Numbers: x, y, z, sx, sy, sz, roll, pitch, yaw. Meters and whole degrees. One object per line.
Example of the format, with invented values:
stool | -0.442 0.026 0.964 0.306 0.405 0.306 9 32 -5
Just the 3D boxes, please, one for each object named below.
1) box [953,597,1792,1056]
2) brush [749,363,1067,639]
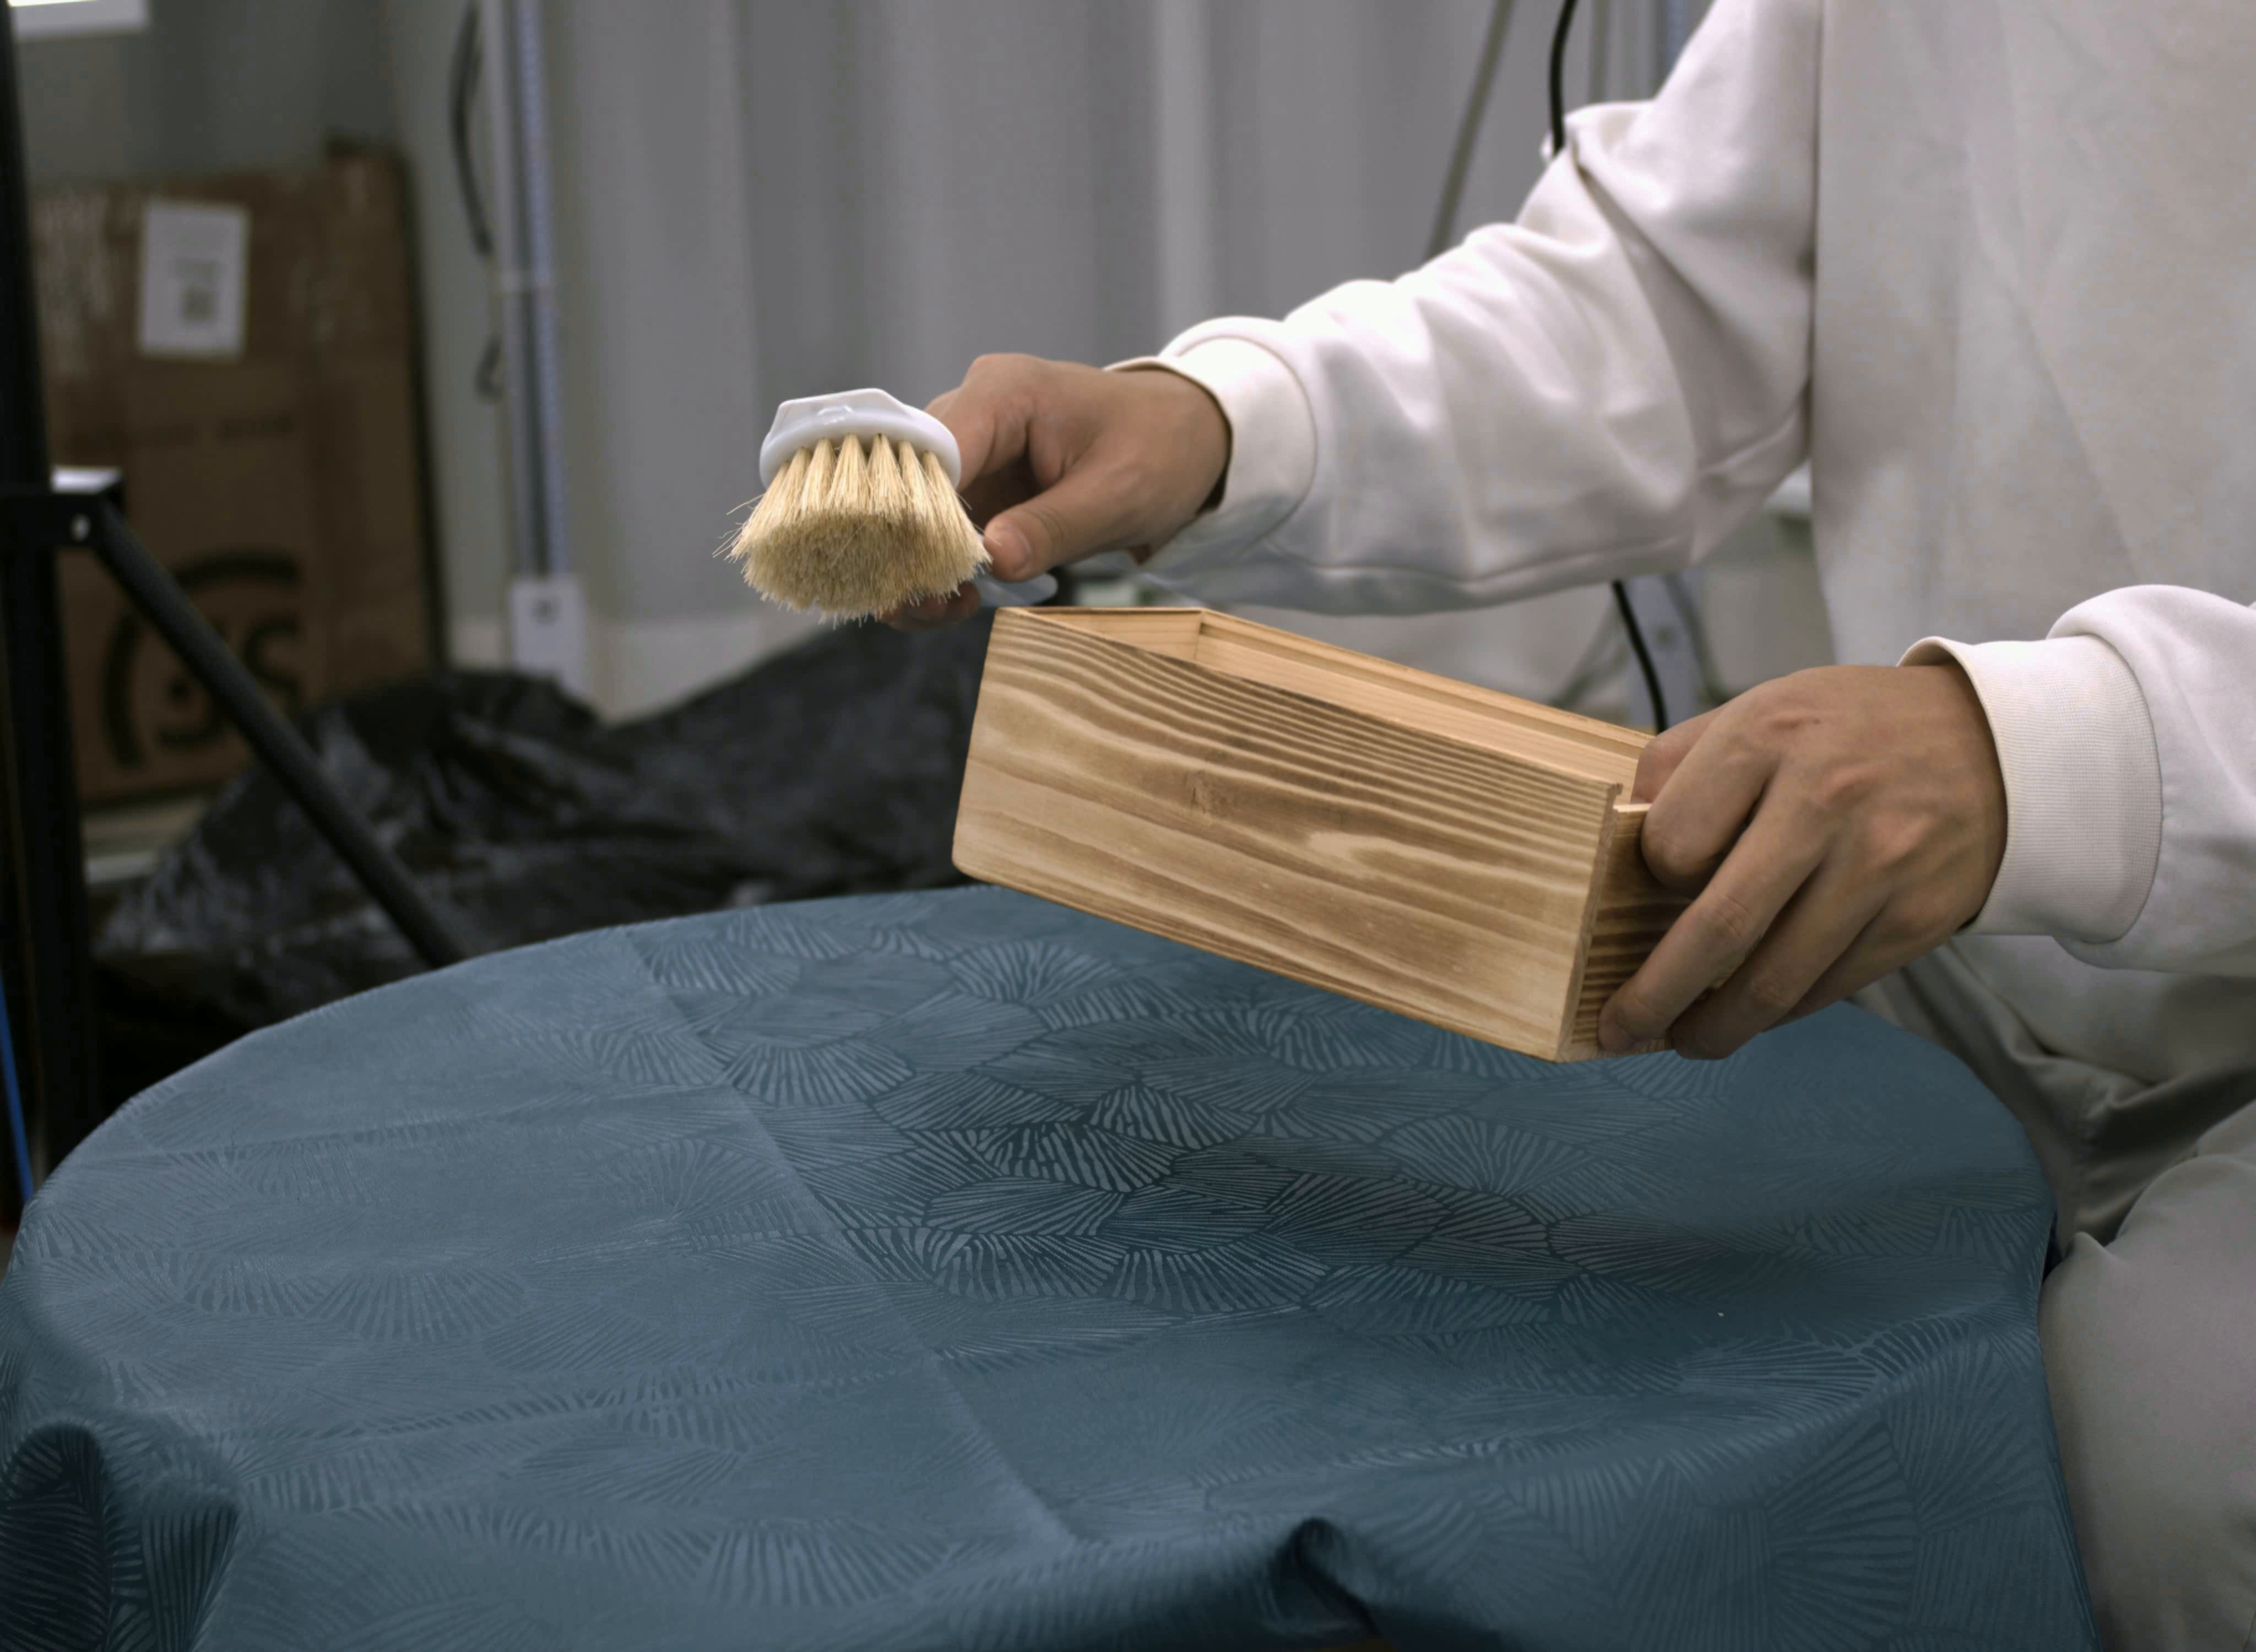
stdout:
box | 0.068 -0.002 1.526 0.216 0.080 0.105 17 10 35
brush | -0.054 -0.074 1.654 0.069 0.056 0.263 5 -15 13
